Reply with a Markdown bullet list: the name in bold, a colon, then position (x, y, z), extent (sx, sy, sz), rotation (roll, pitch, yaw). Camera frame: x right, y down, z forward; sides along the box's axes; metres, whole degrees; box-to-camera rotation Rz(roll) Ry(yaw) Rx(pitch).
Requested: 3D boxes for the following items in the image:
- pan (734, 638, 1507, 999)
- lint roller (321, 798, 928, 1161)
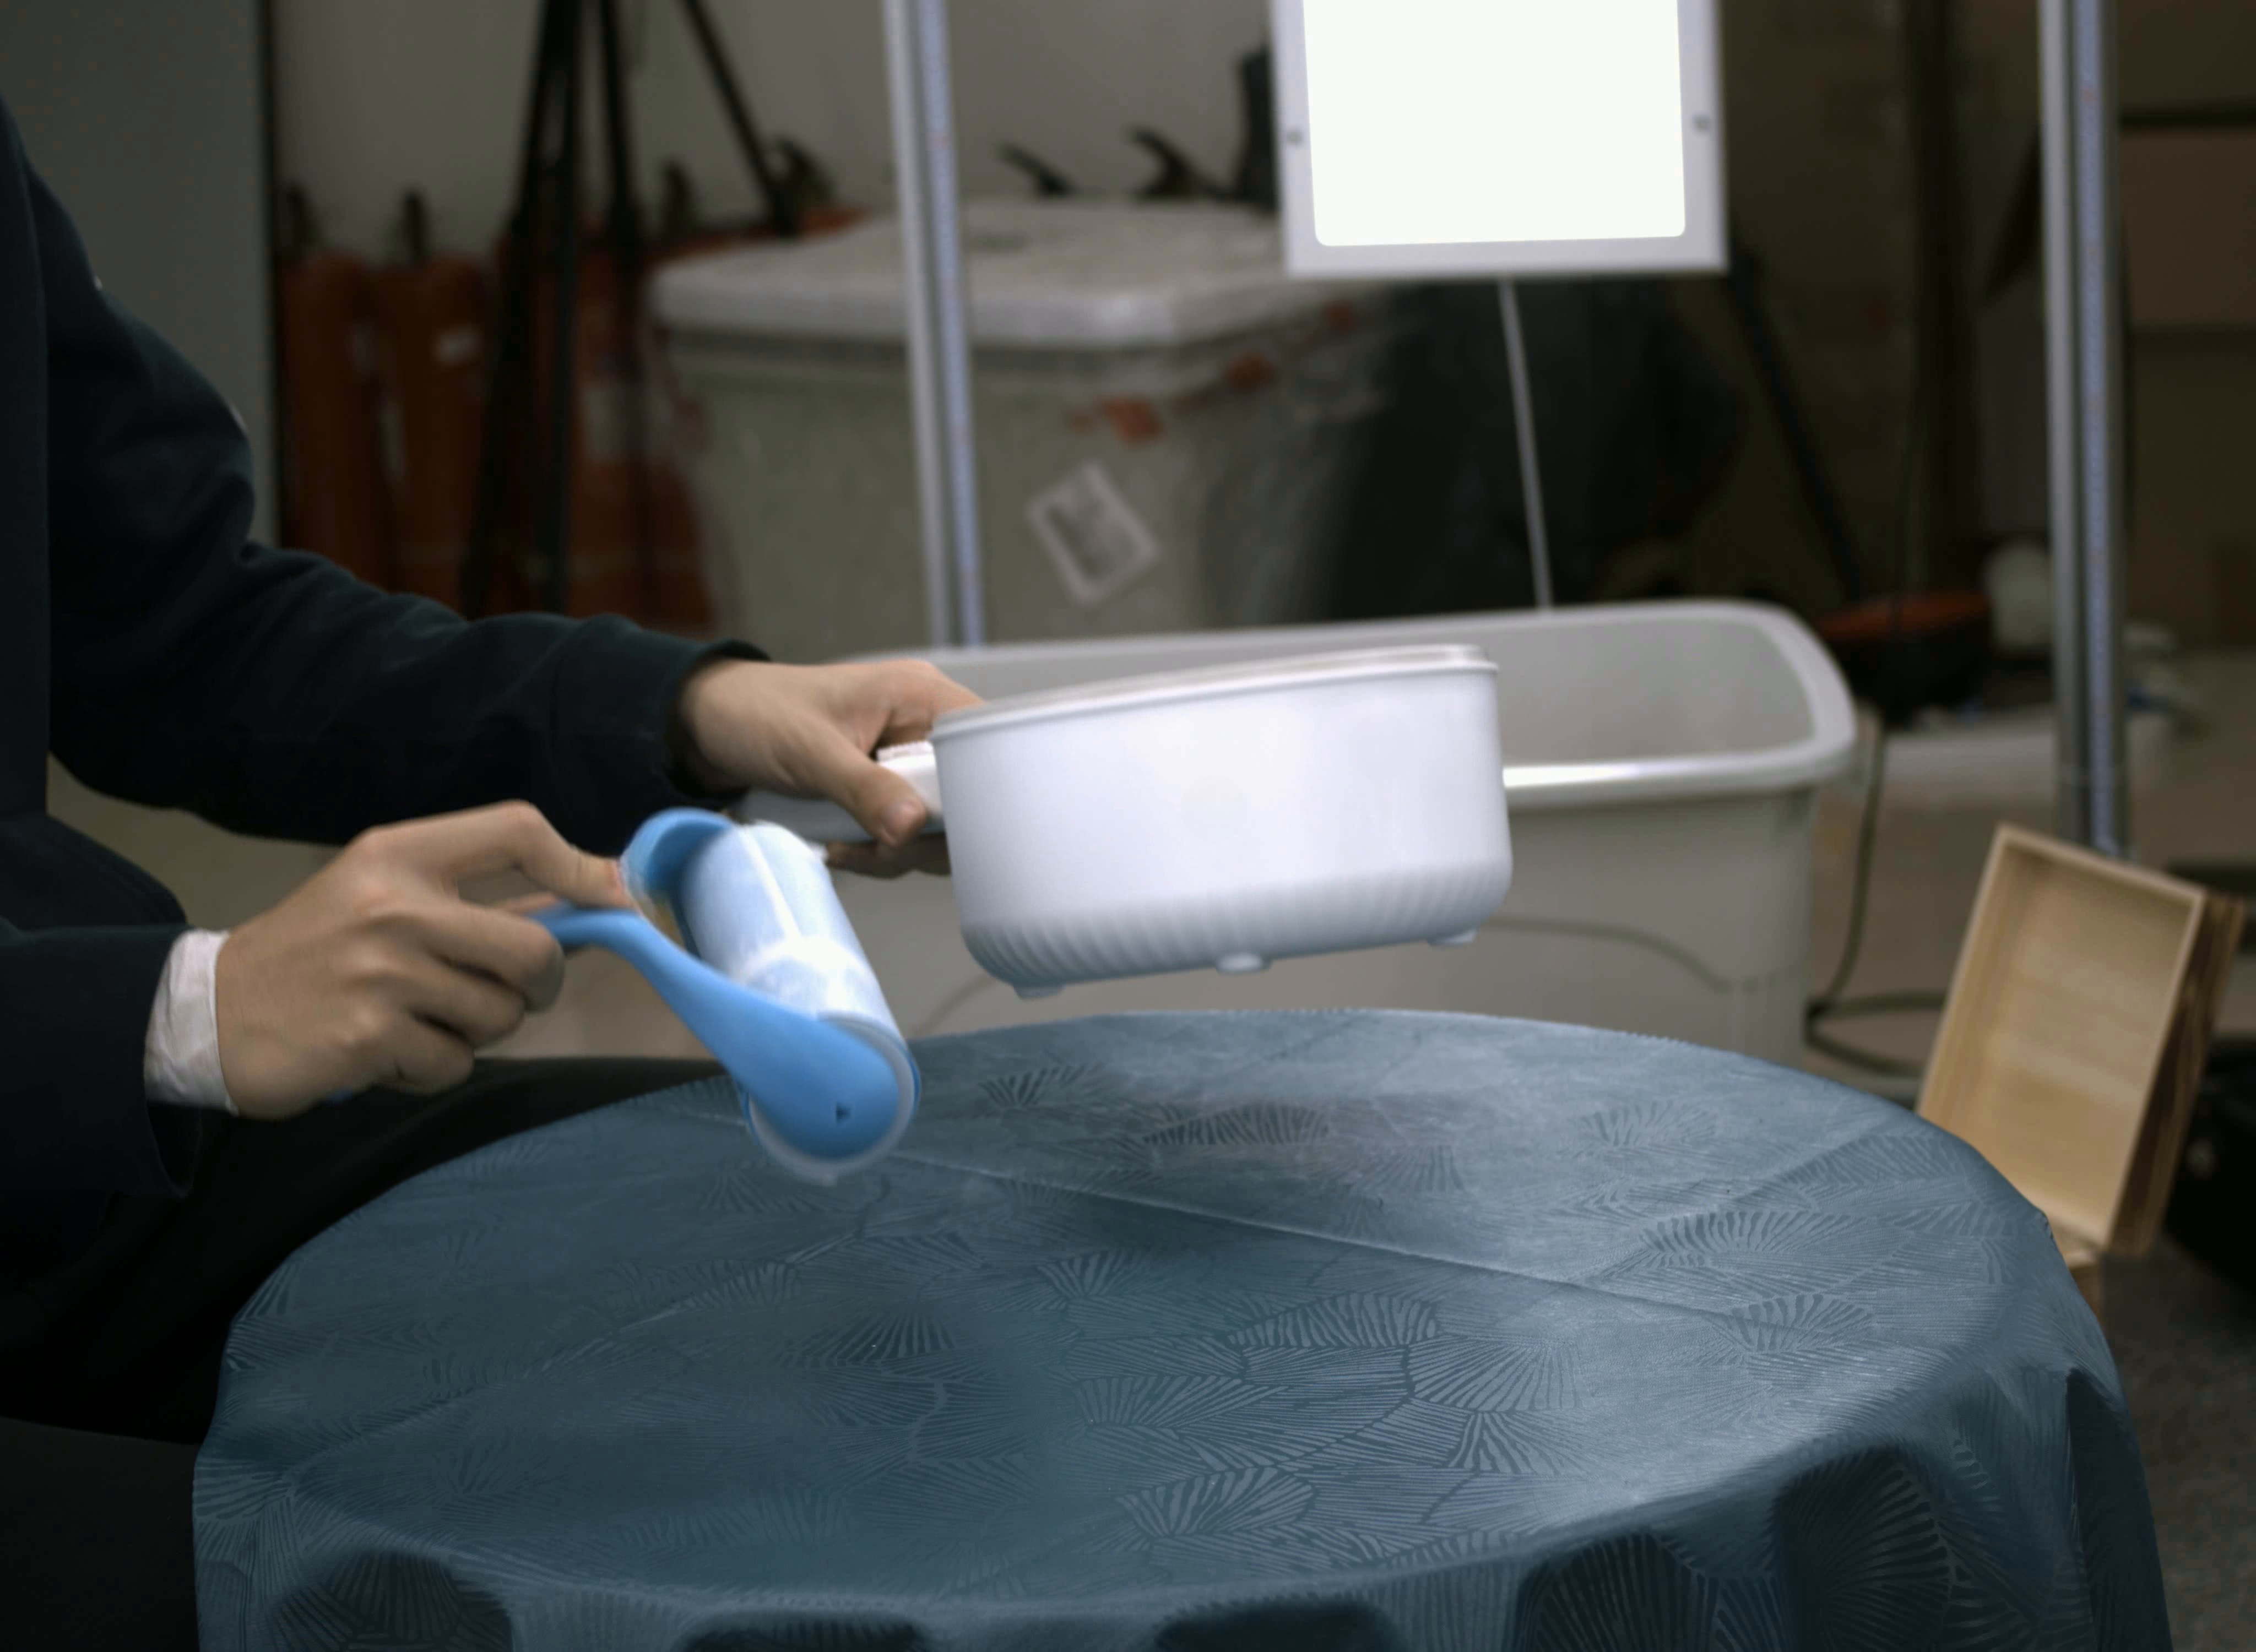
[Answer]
- **pan**: position (-0.018, 0.009, 1.967), extent (0.196, 0.102, 0.363), rotation (-6, -3, -41)
- **lint roller**: position (-0.164, 0.050, 1.740), extent (0.178, 0.068, 0.230), rotation (-4, 19, -13)
